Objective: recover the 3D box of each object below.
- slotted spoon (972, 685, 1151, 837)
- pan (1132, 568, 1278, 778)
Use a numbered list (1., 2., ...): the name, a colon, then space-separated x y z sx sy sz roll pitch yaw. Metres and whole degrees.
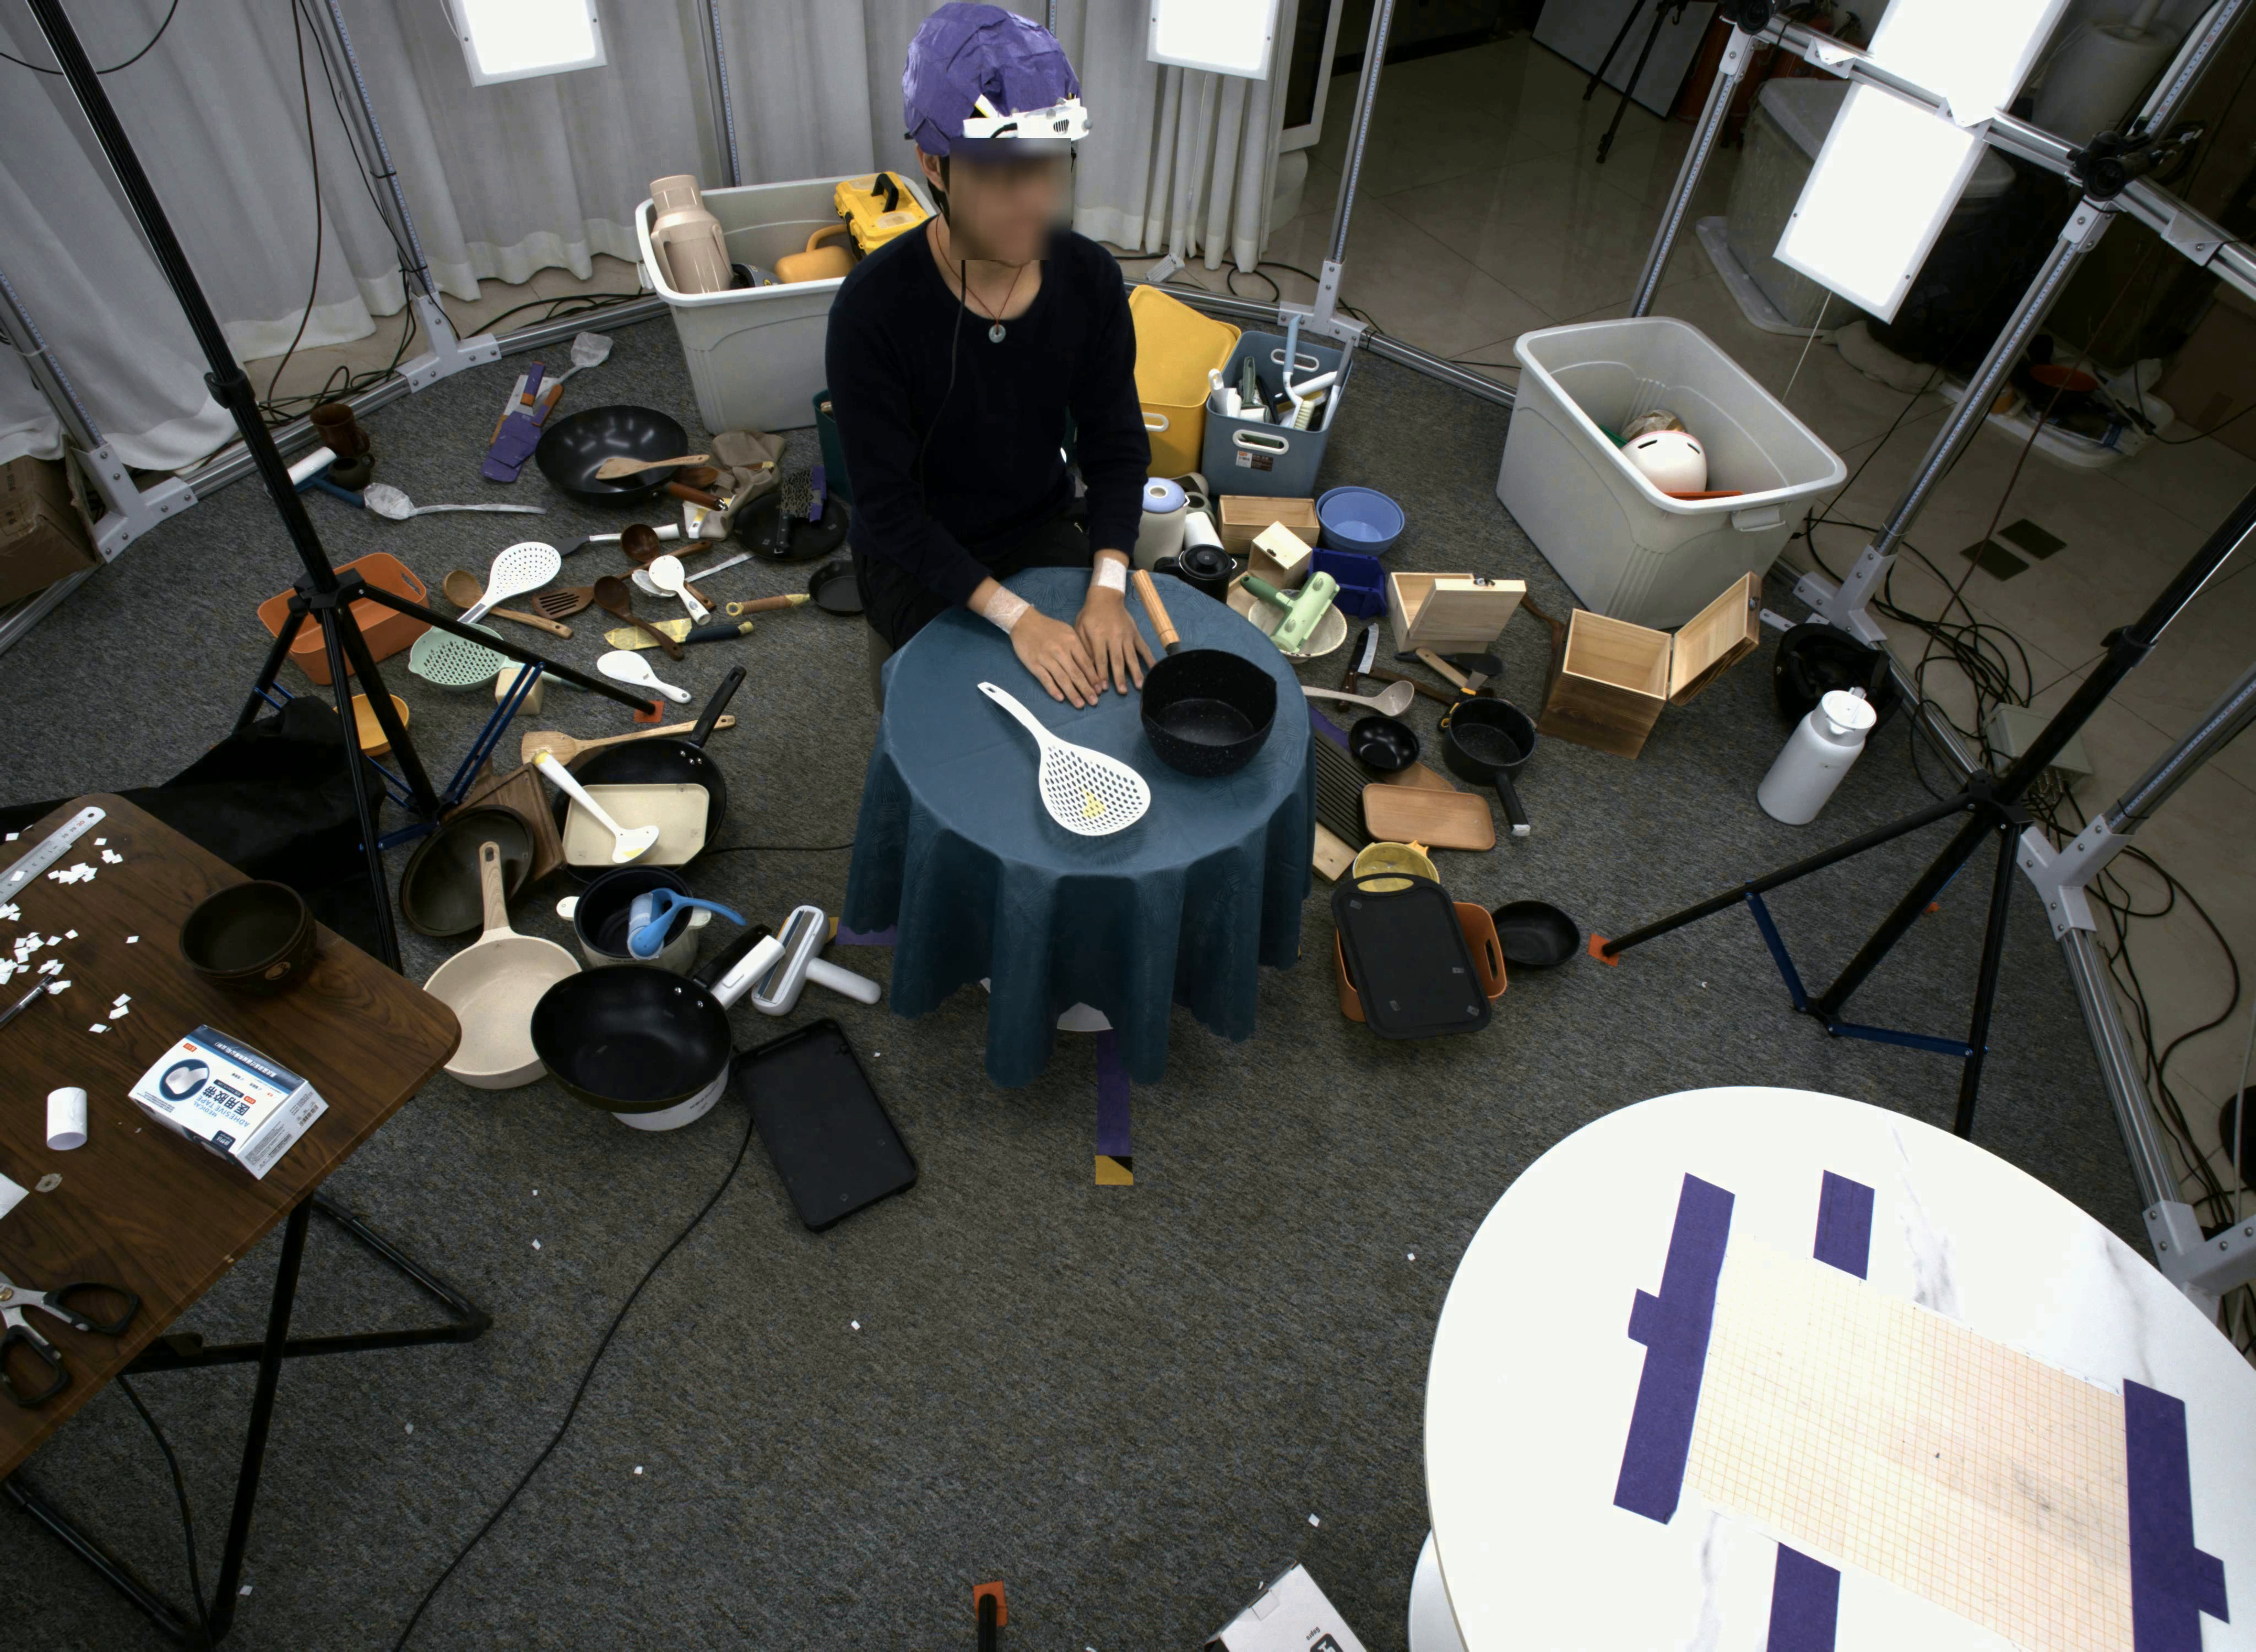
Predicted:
1. slotted spoon: -0.106 -0.100 1.721 0.137 0.049 0.354 -28 58 -23
2. pan: 0.076 -0.214 1.790 0.207 0.105 0.350 -17 54 -16
